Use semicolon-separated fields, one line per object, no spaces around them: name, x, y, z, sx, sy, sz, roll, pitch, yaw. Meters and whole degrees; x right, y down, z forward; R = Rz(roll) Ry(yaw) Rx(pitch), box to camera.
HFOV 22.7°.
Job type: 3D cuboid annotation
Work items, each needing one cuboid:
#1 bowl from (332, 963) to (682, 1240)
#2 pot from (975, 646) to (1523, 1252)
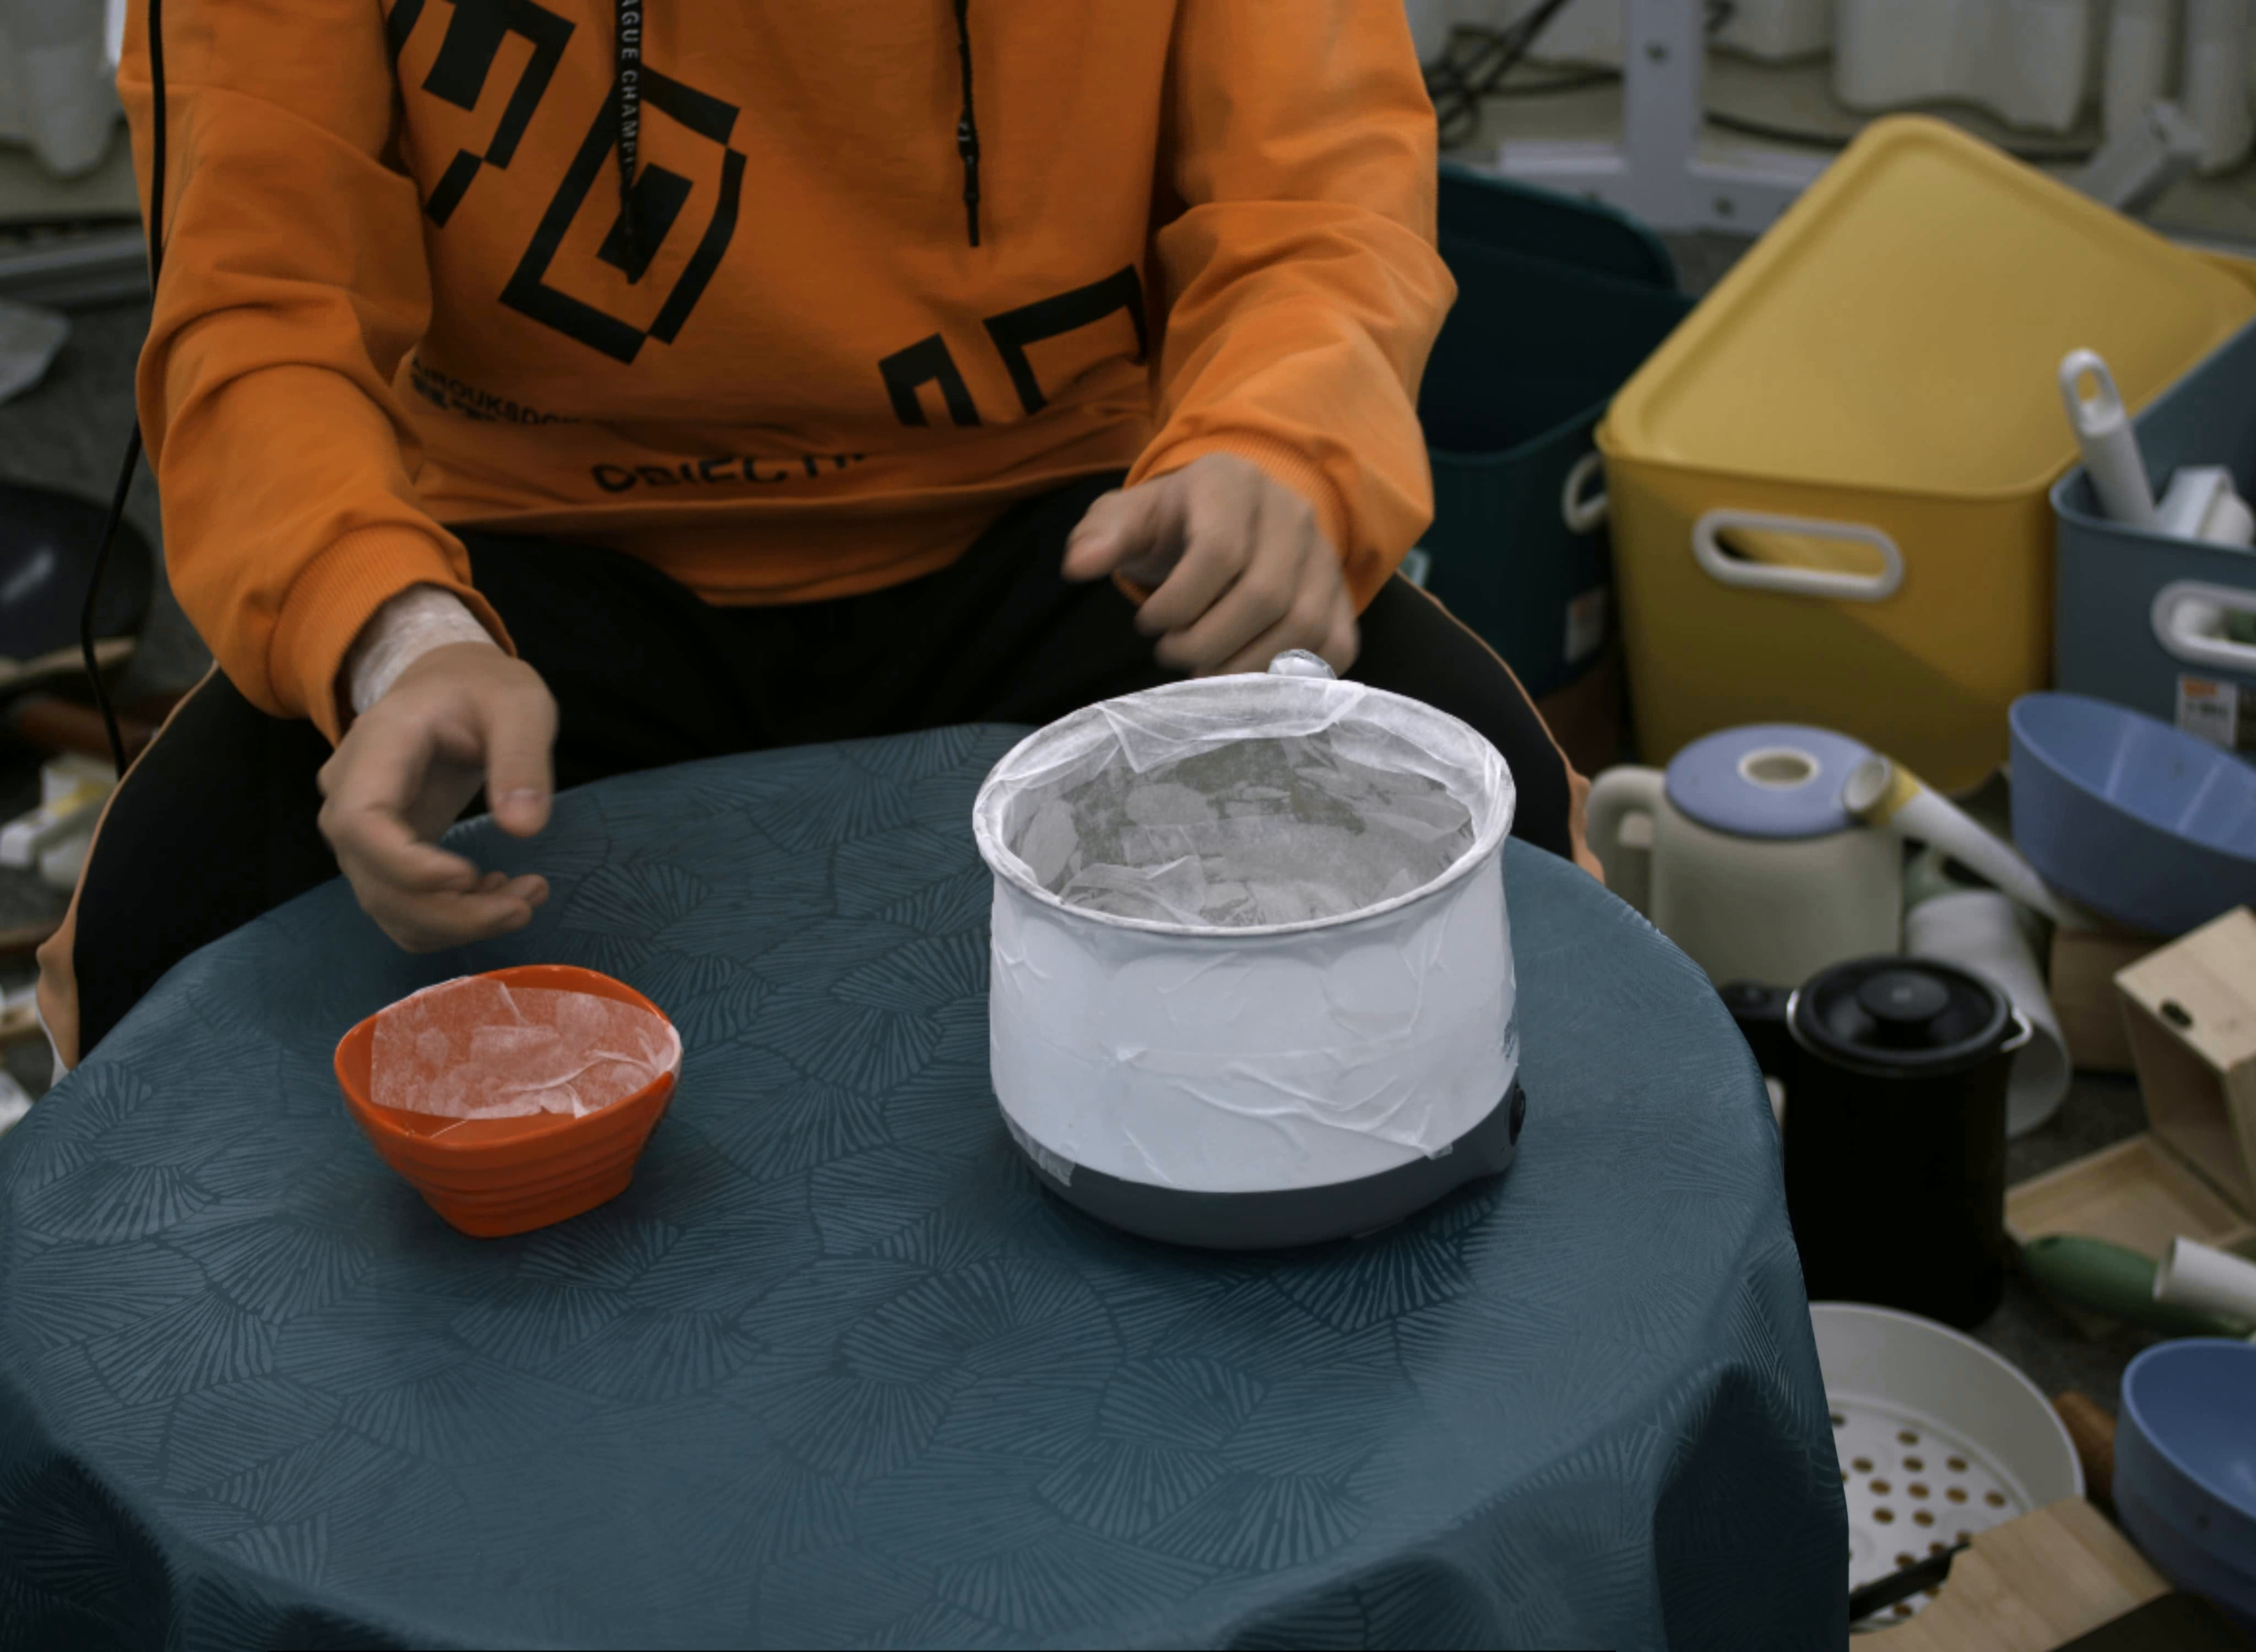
bowl;-0.205;0.097;1.877;0.118;0.051;0.121;-3;28;2
pot;0.045;0.034;1.880;0.177;0.135;0.238;2;28;10
